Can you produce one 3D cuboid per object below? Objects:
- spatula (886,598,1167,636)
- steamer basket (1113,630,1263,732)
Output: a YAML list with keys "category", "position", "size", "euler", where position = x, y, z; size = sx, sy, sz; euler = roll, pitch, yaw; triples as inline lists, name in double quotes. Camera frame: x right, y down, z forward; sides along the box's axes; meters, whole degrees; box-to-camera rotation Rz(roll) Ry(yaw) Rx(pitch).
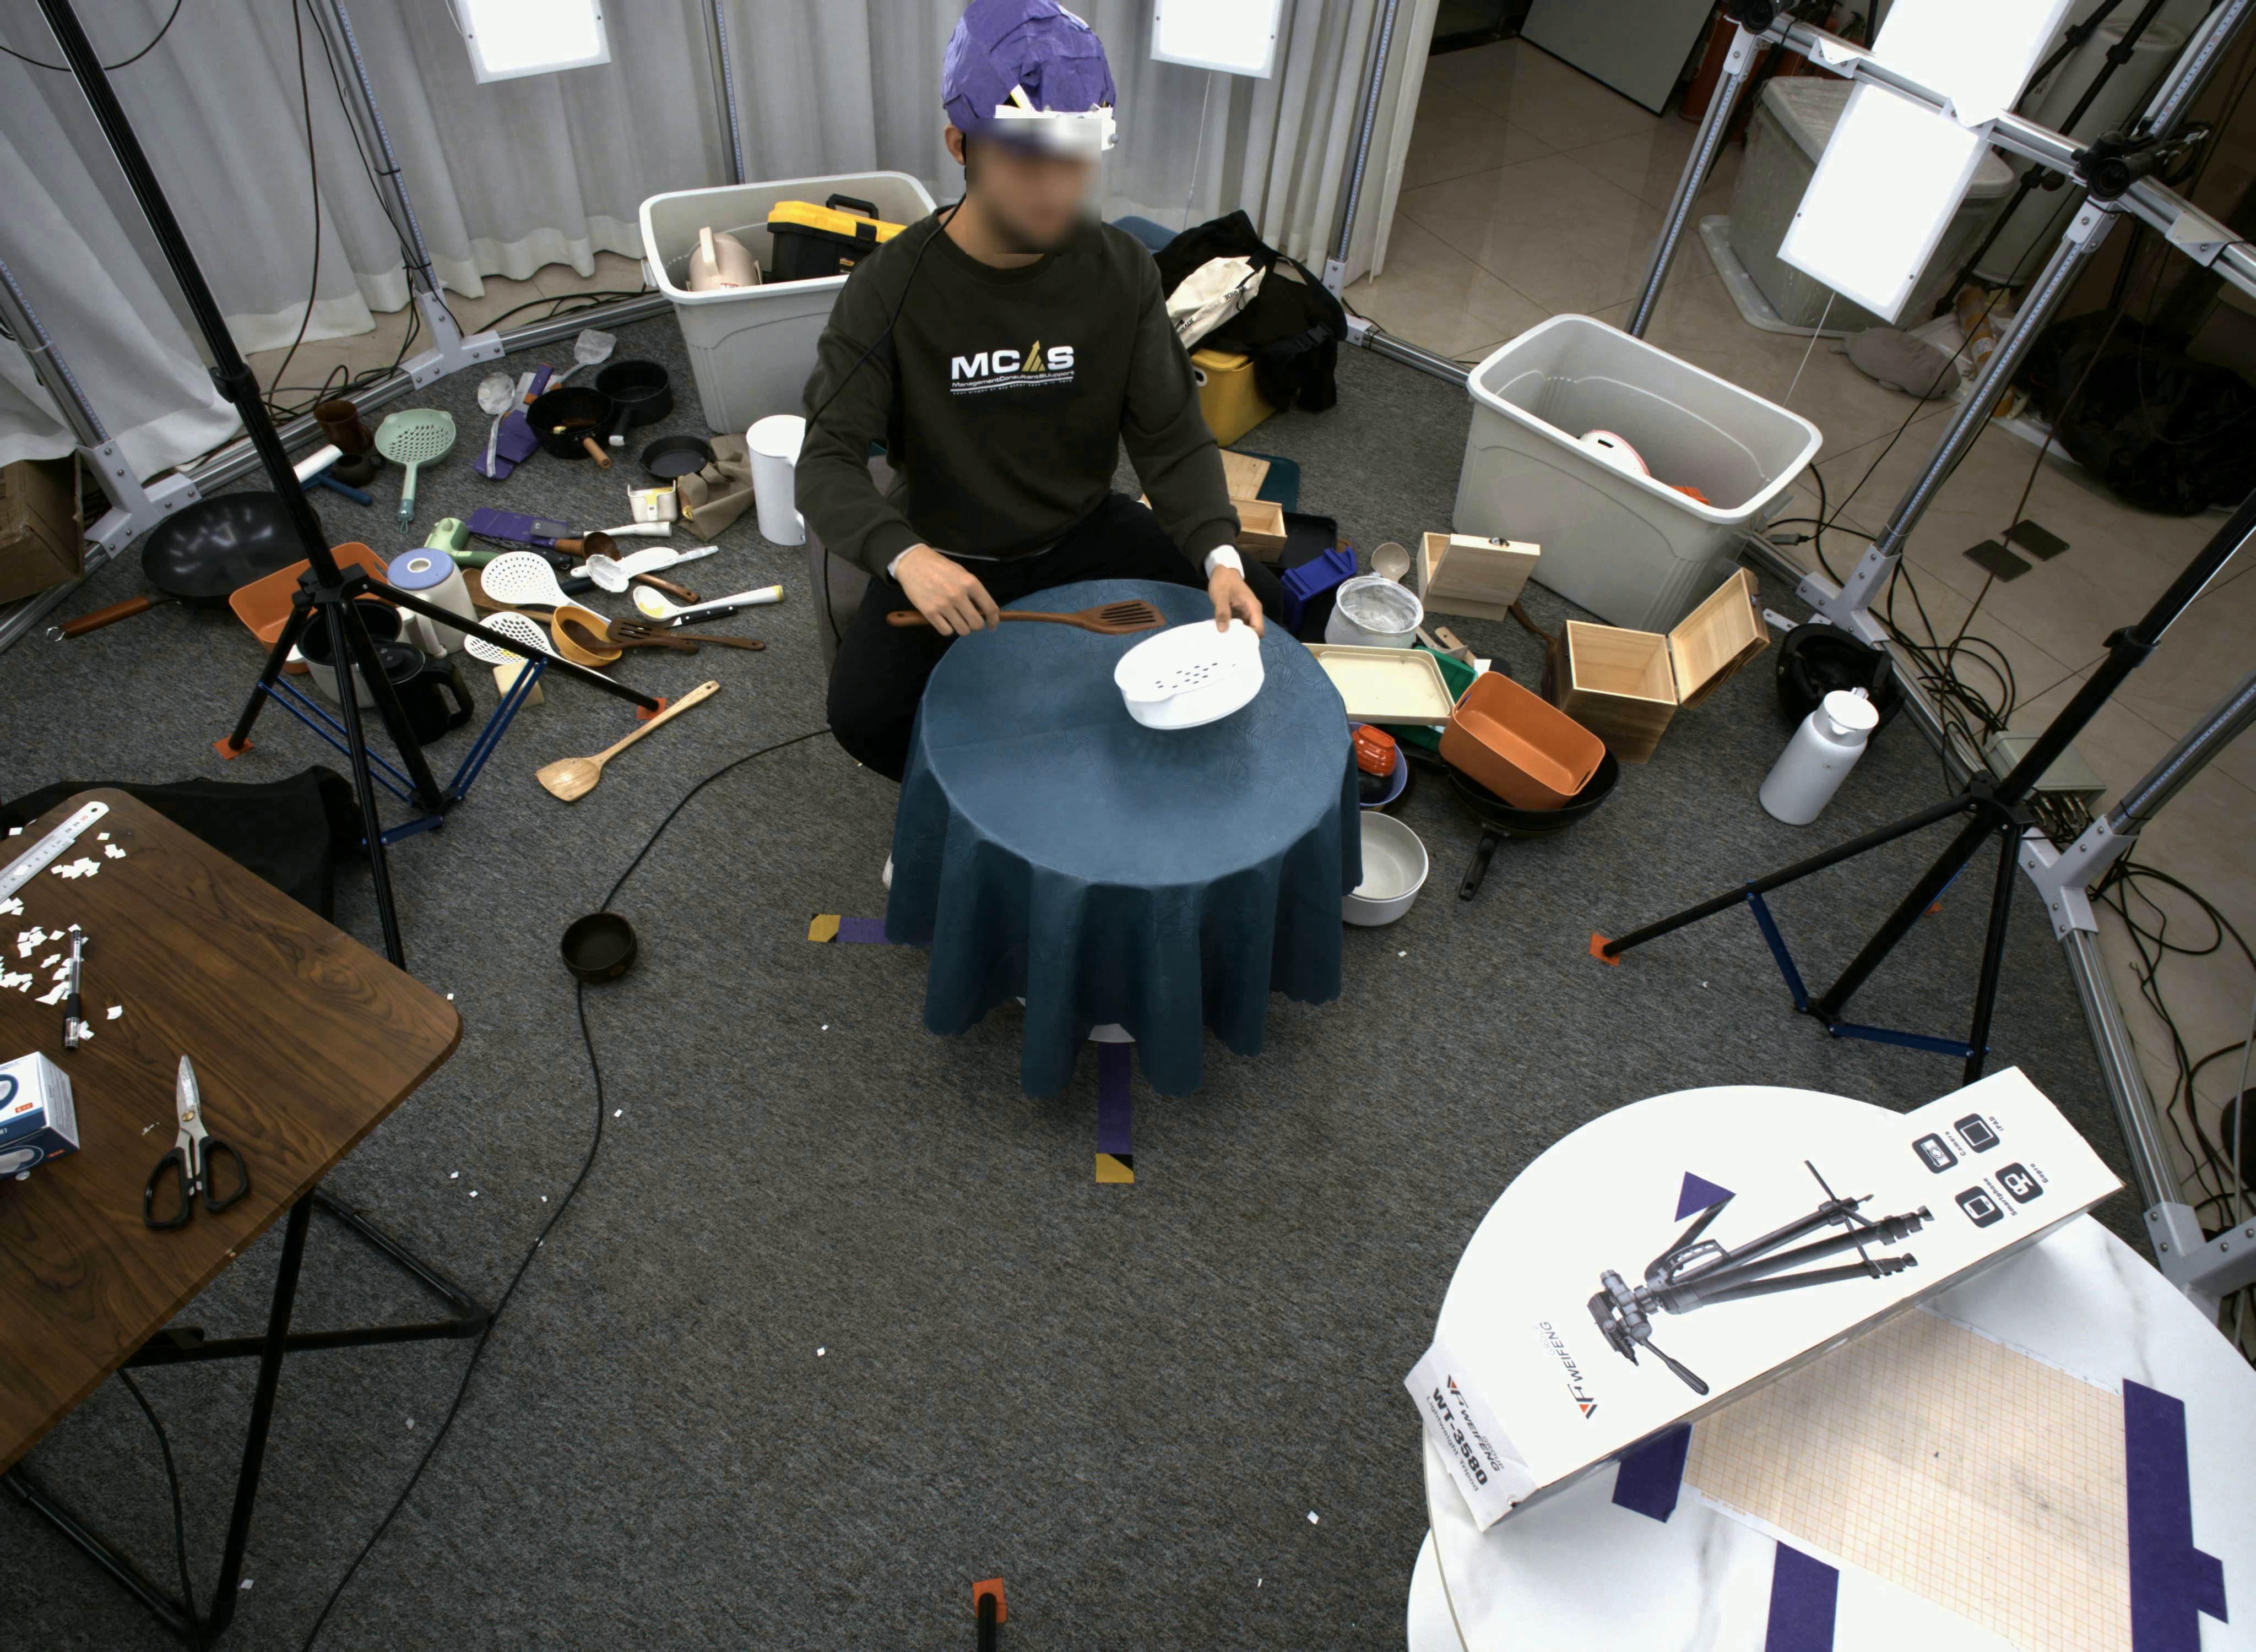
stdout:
- category: "spatula"
  position: [-0.131, -0.276, 1.718]
  size: [0.384, 0.023, 0.088]
  euler: [-5, 38, -23]
- category: "steamer basket"
  position: [0.084, -0.196, 1.743]
  size: [0.203, 0.068, 0.233]
  euler: [8, 34, 36]
